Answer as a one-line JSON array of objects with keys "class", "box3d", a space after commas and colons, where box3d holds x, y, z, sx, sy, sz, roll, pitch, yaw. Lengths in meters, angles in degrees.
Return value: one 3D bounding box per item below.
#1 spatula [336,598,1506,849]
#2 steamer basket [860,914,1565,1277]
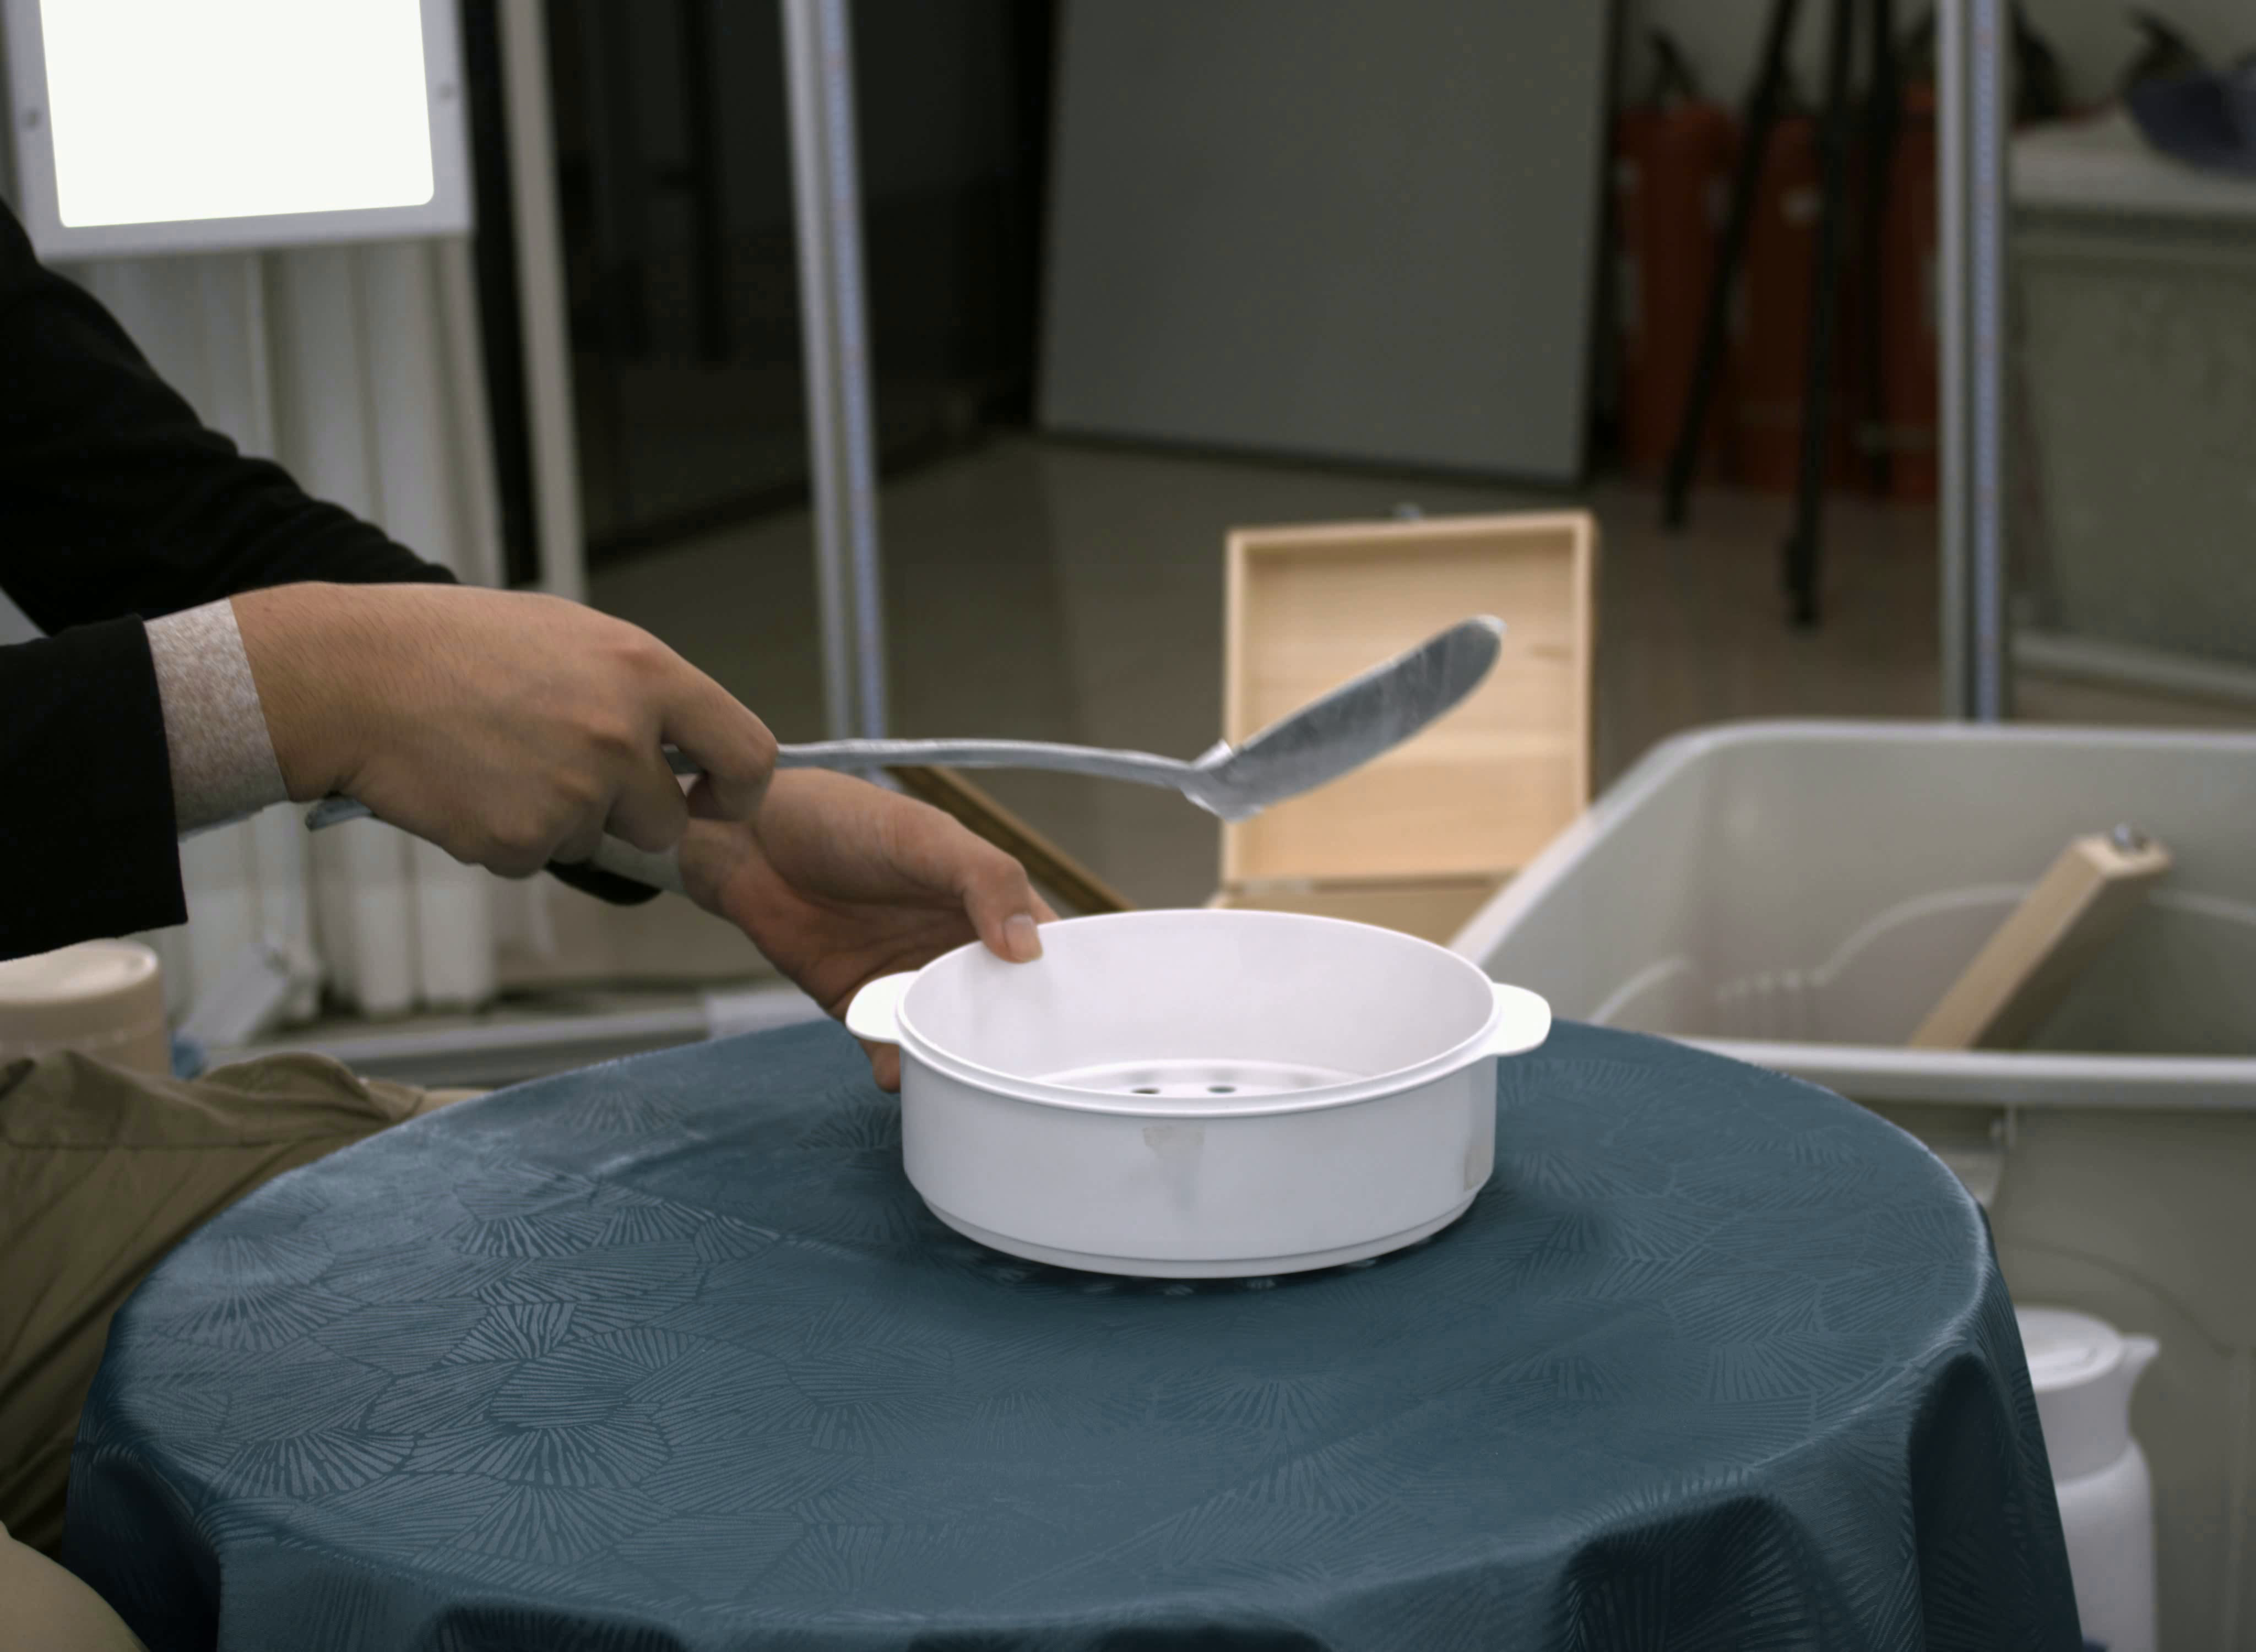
[{"class": "spatula", "box3d": [-0.060, -0.026, 1.636, 0.358, 0.045, 0.099, -3, -19, -9]}, {"class": "steamer basket", "box3d": [0.028, 0.086, 1.744, 0.228, 0.070, 0.201, 0, 15, 8]}]
